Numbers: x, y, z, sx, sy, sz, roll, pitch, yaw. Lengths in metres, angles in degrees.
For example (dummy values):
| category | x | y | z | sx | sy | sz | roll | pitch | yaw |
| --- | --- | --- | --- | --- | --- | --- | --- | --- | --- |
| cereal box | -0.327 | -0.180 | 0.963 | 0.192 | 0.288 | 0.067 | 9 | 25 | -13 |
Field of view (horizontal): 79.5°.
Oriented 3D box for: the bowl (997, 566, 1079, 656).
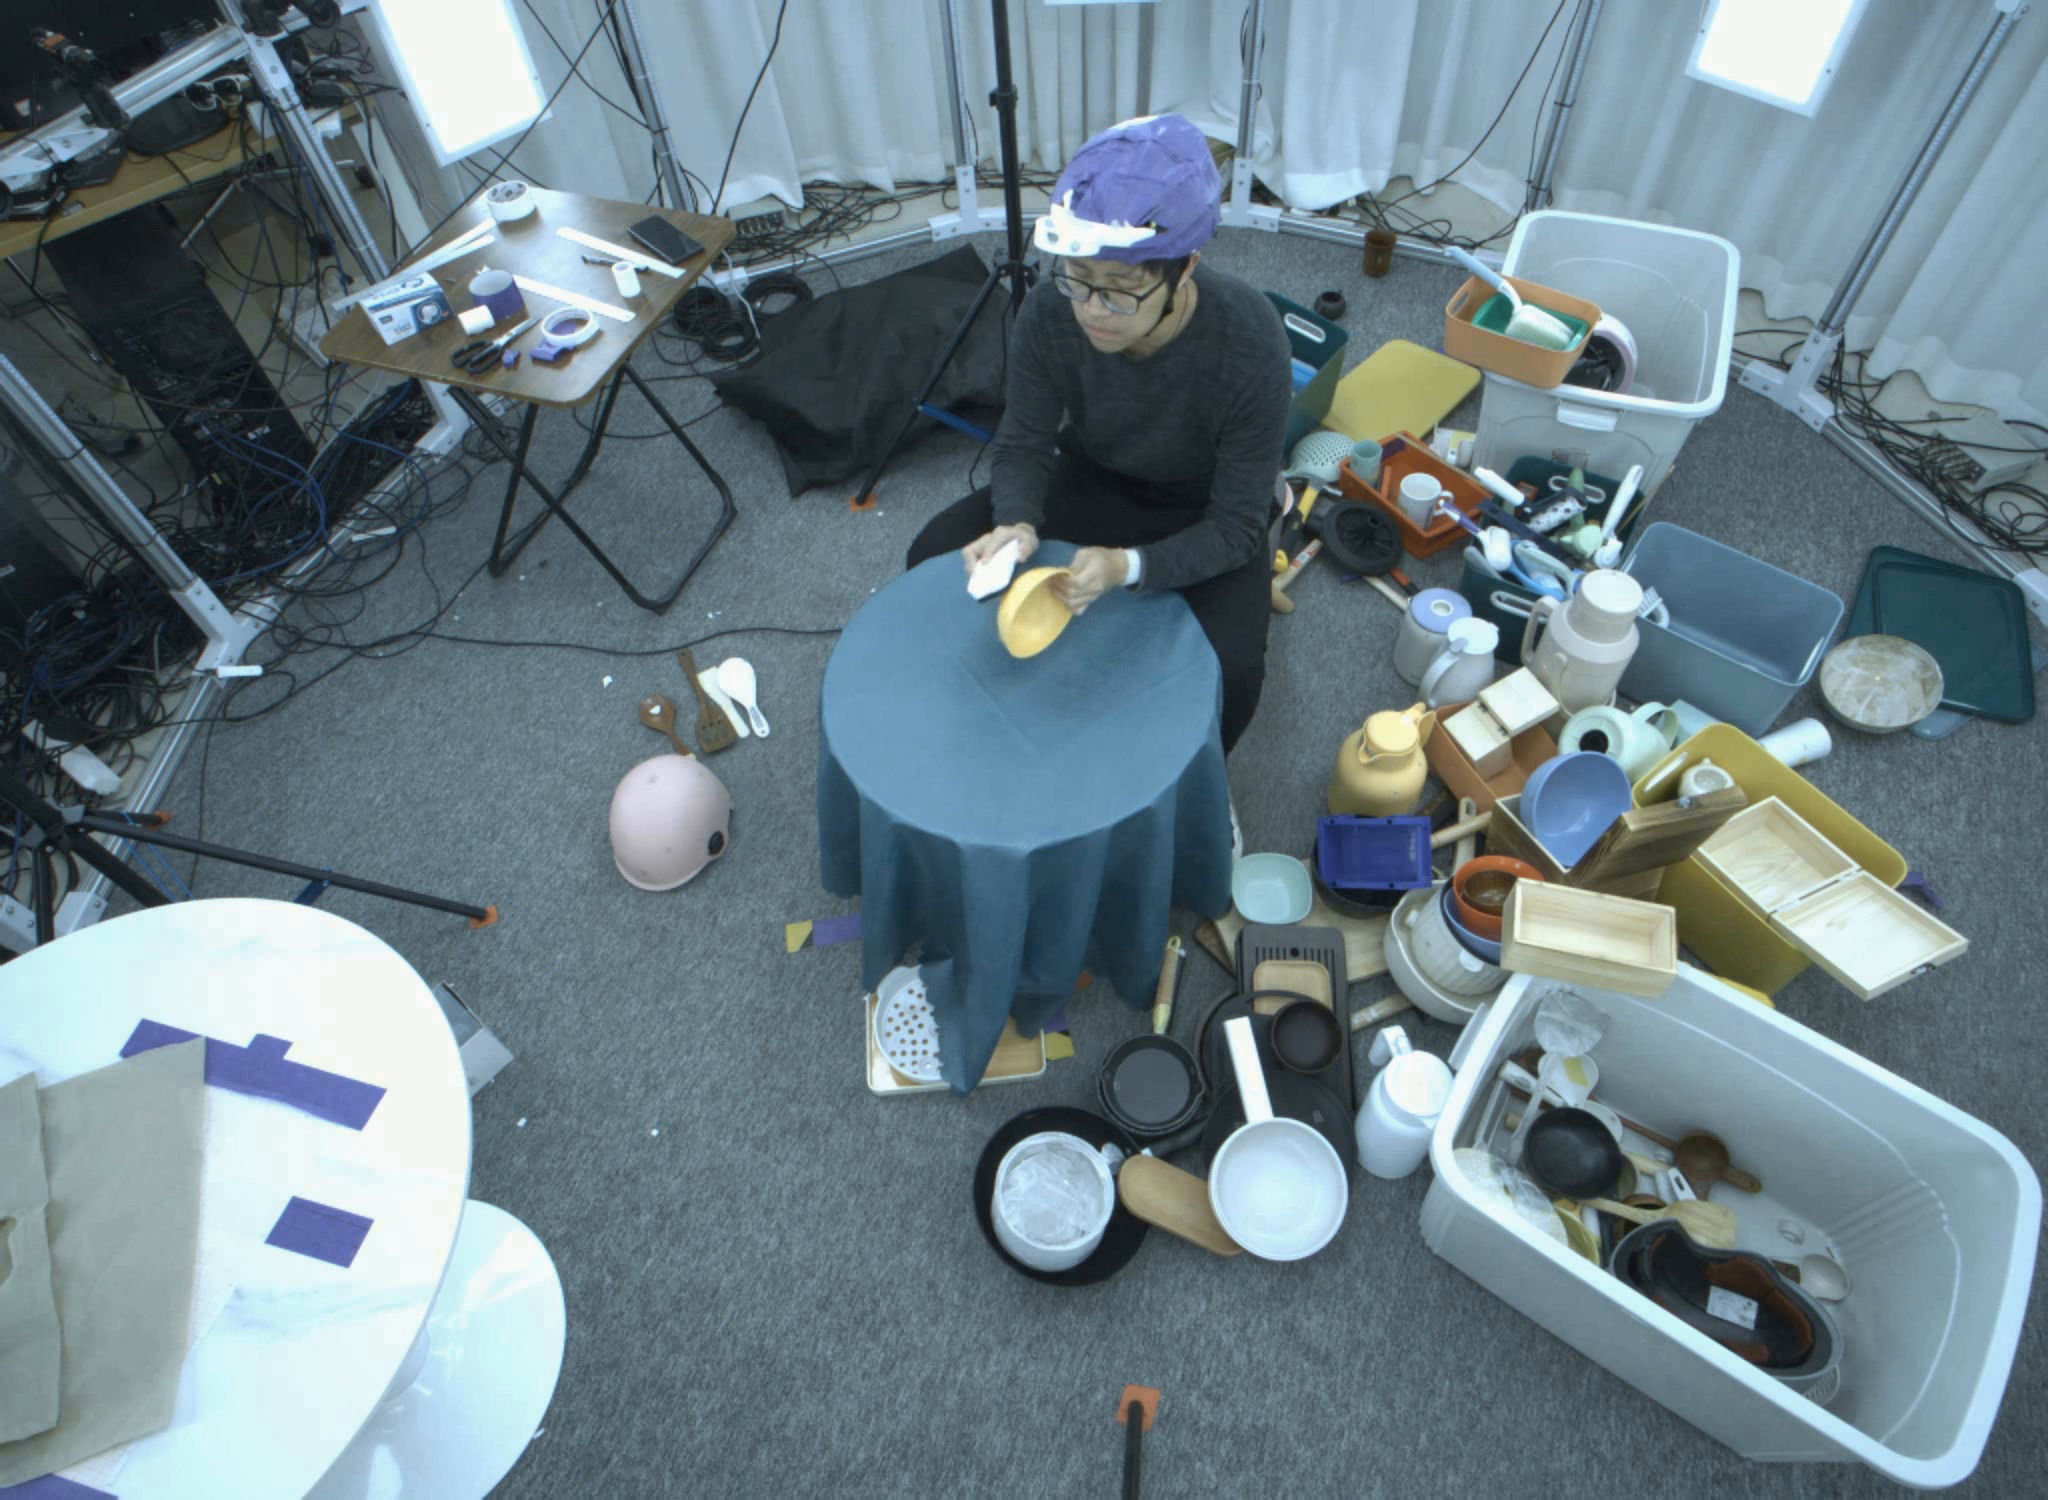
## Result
| category | x | y | z | sx | sy | sz | roll | pitch | yaw |
| --- | --- | --- | --- | --- | --- | --- | --- | --- | --- |
| bowl | 0.008 | -0.211 | 1.770 | 0.146 | 0.147 | 0.059 | -39 | 61 | -22 |

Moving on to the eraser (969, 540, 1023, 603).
| category | x | y | z | sx | sy | sz | roll | pitch | yaw |
| --- | --- | --- | --- | --- | --- | --- | --- | --- | --- |
| eraser | -0.039 | -0.261 | 1.764 | 0.062 | 0.035 | 0.130 | -20 | 30 | 24 |
